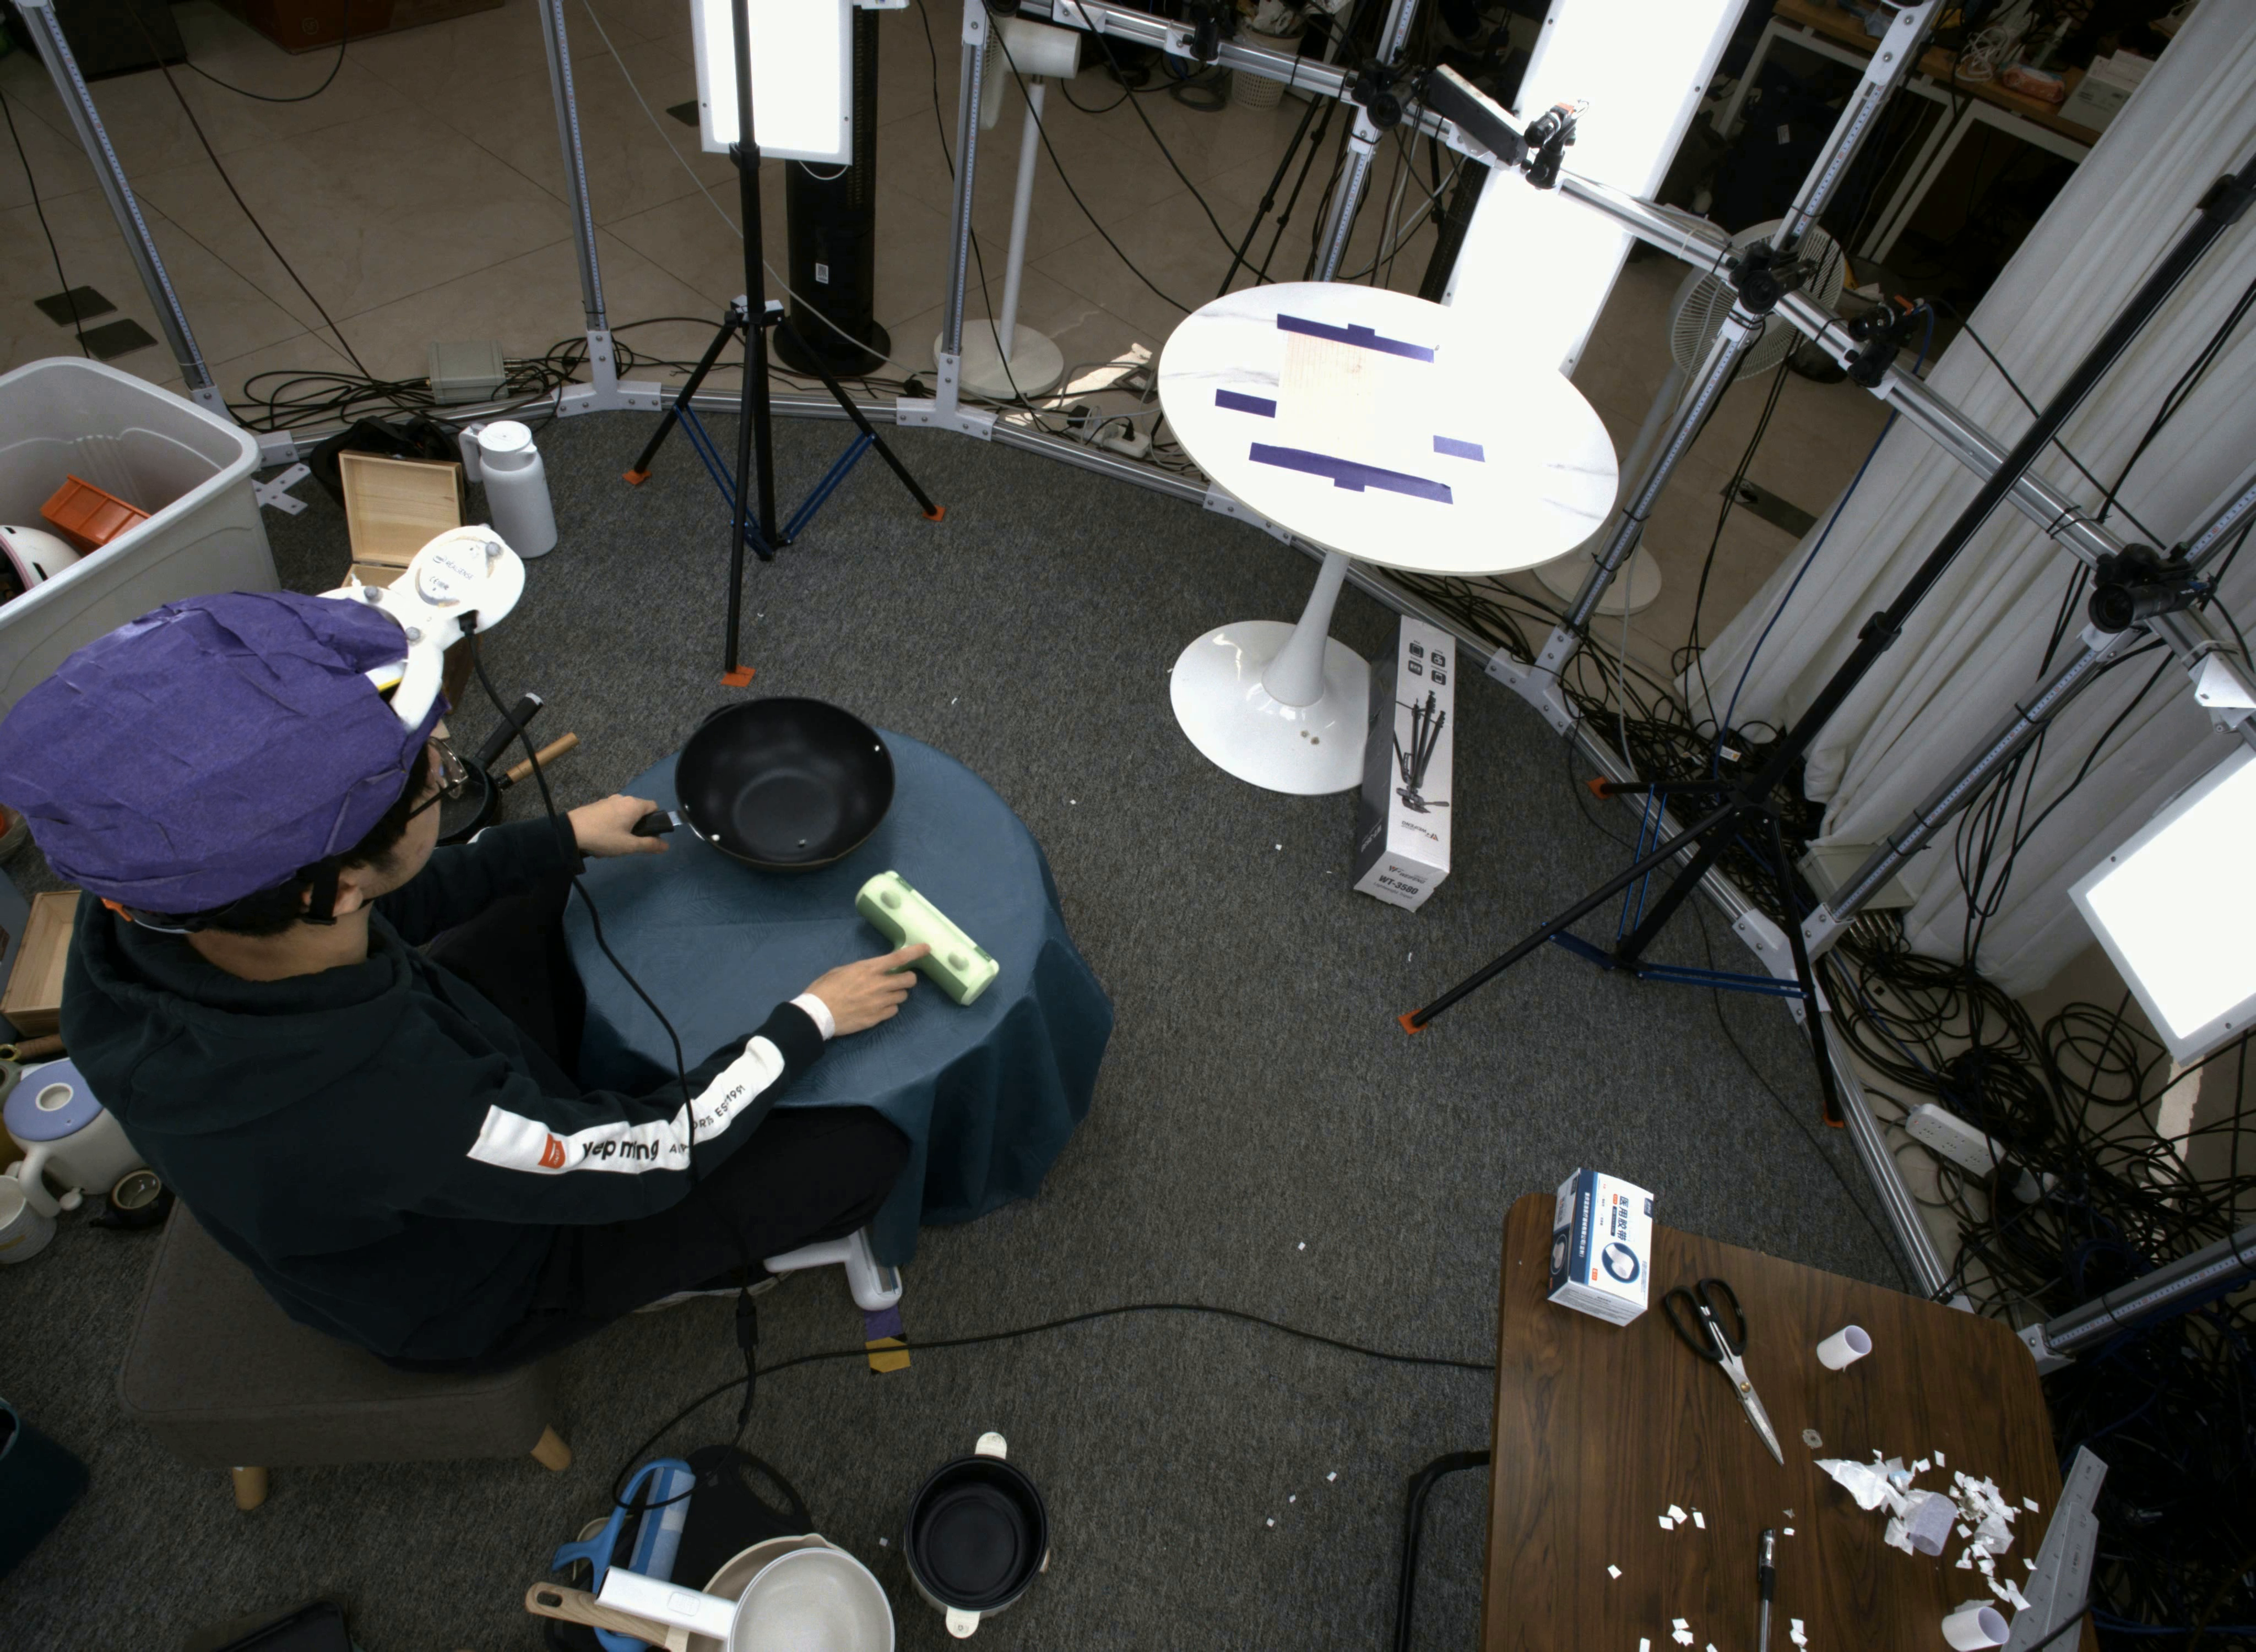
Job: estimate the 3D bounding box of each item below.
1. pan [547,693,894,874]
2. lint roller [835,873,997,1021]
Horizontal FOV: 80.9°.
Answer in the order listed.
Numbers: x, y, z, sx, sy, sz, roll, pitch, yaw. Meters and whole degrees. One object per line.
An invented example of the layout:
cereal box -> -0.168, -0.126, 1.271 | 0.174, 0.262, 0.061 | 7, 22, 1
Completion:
pan -> -0.523, -0.012, 1.659 | 0.465, 0.088, 0.281 | -23, 63, -26
lint roller -> -0.286, 0.162, 1.588 | 0.196, 0.083, 0.183 | 40, 49, 10
